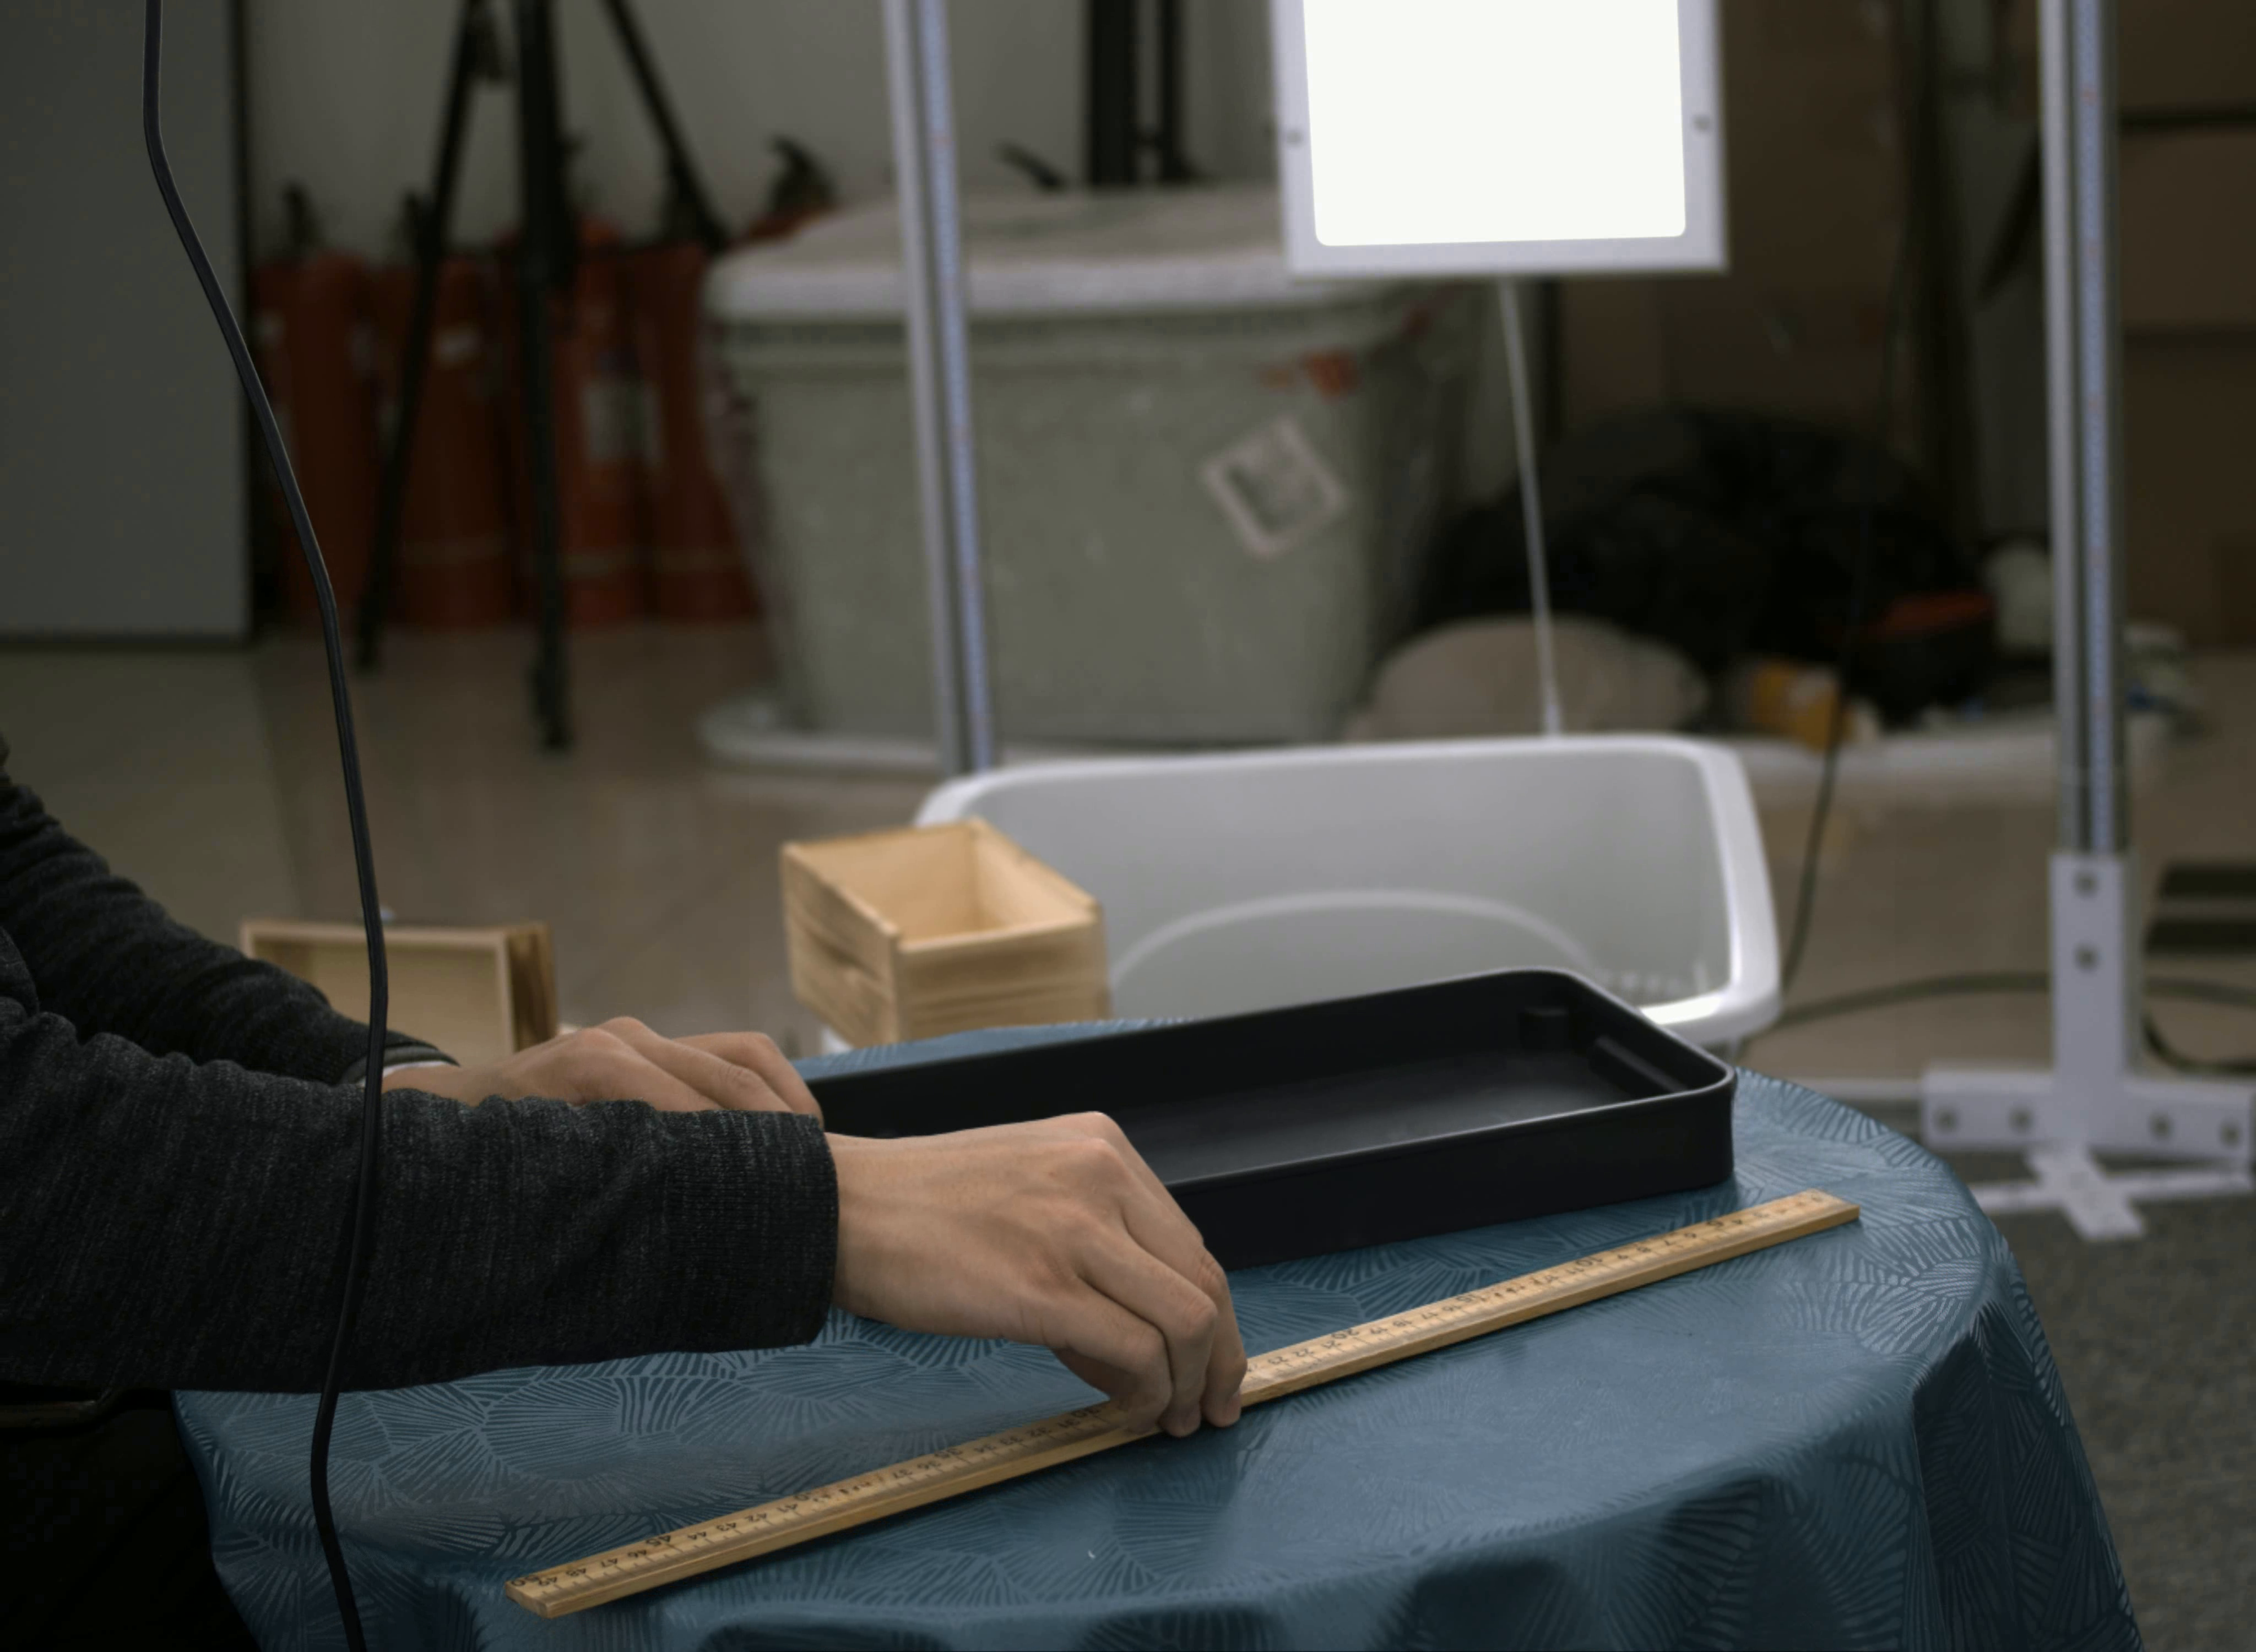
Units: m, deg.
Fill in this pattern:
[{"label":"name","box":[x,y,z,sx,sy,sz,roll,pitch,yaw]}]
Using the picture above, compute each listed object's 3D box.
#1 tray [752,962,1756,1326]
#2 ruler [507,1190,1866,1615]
[{"label":"tray","box":[0.042,0.106,1.894,0.313,0.037,0.186,-10,14,-15]},{"label":"ruler","box":[0.033,0.170,1.684,0.489,0.006,0.027,-13,22,-31]}]
